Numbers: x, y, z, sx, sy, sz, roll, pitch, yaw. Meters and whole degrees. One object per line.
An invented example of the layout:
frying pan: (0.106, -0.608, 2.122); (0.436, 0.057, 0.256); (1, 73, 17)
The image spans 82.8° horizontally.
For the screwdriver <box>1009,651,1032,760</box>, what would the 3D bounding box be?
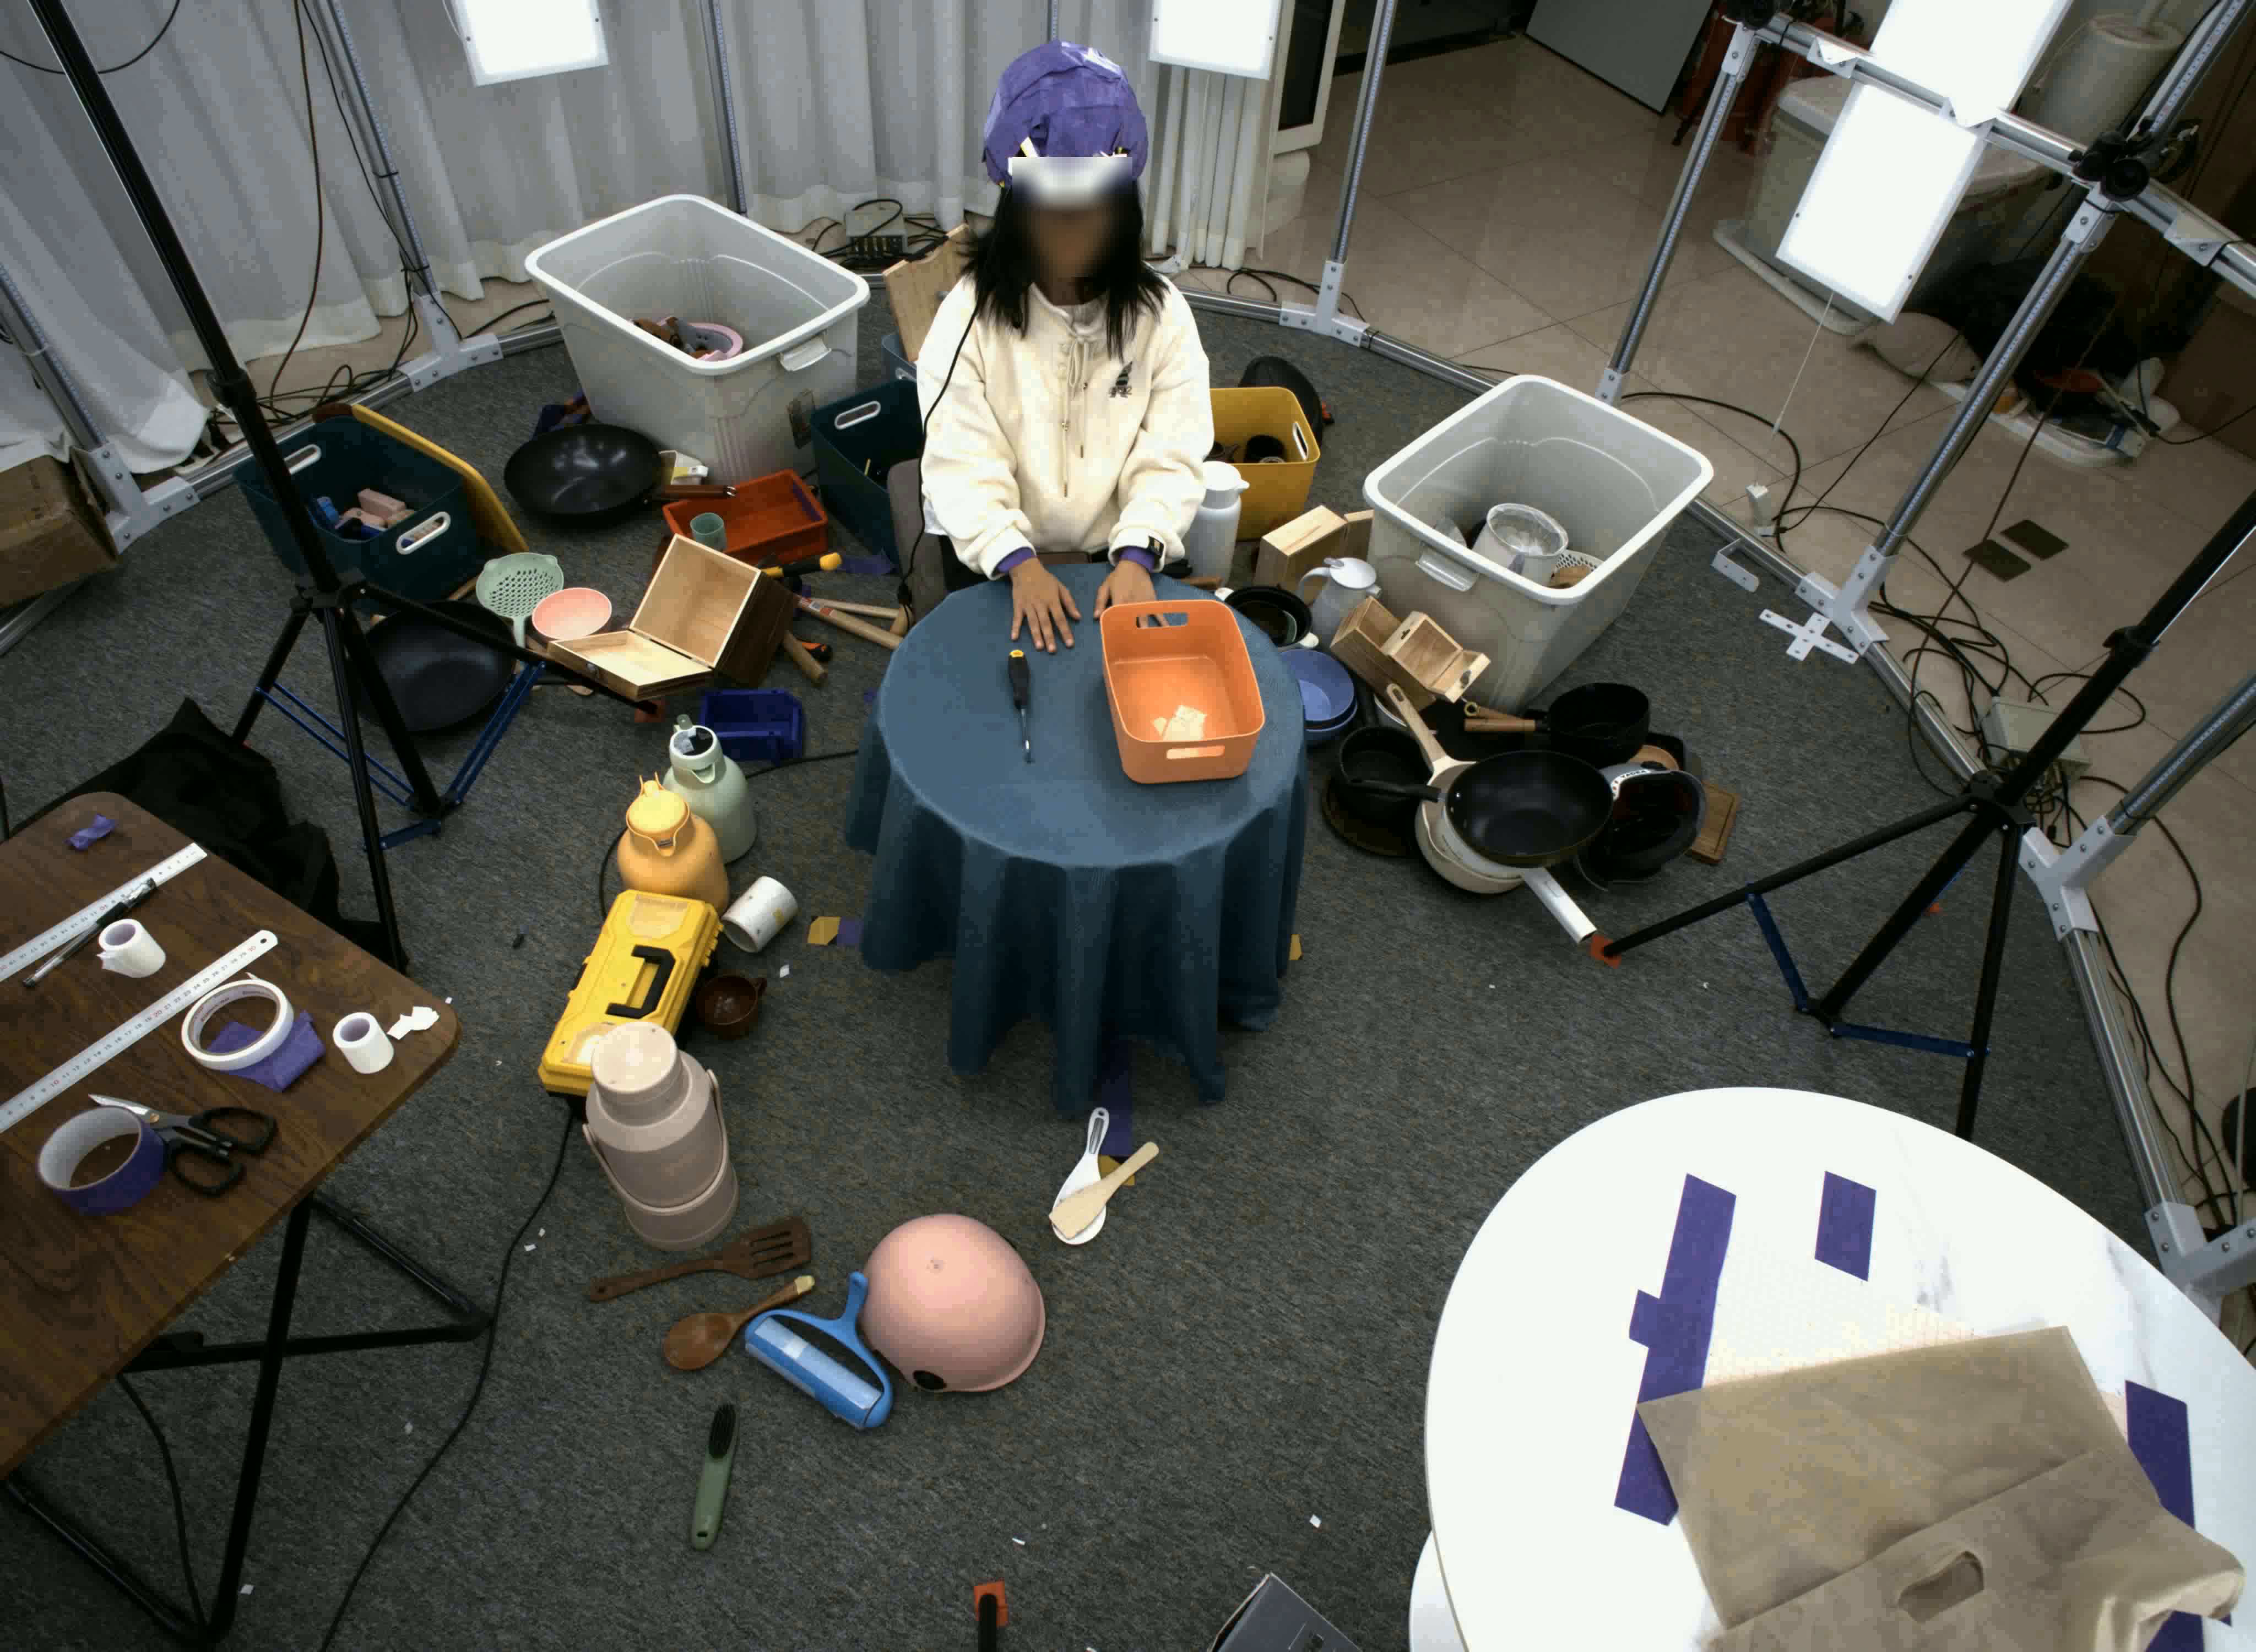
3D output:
screwdriver: (-0.150, -0.169, 1.793); (0.031, 0.031, 0.203); (-1, 52, -6)

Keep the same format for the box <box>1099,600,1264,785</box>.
box: (0.068, -0.183, 1.766); (0.199, 0.100, 0.280); (-5, 50, -8)
